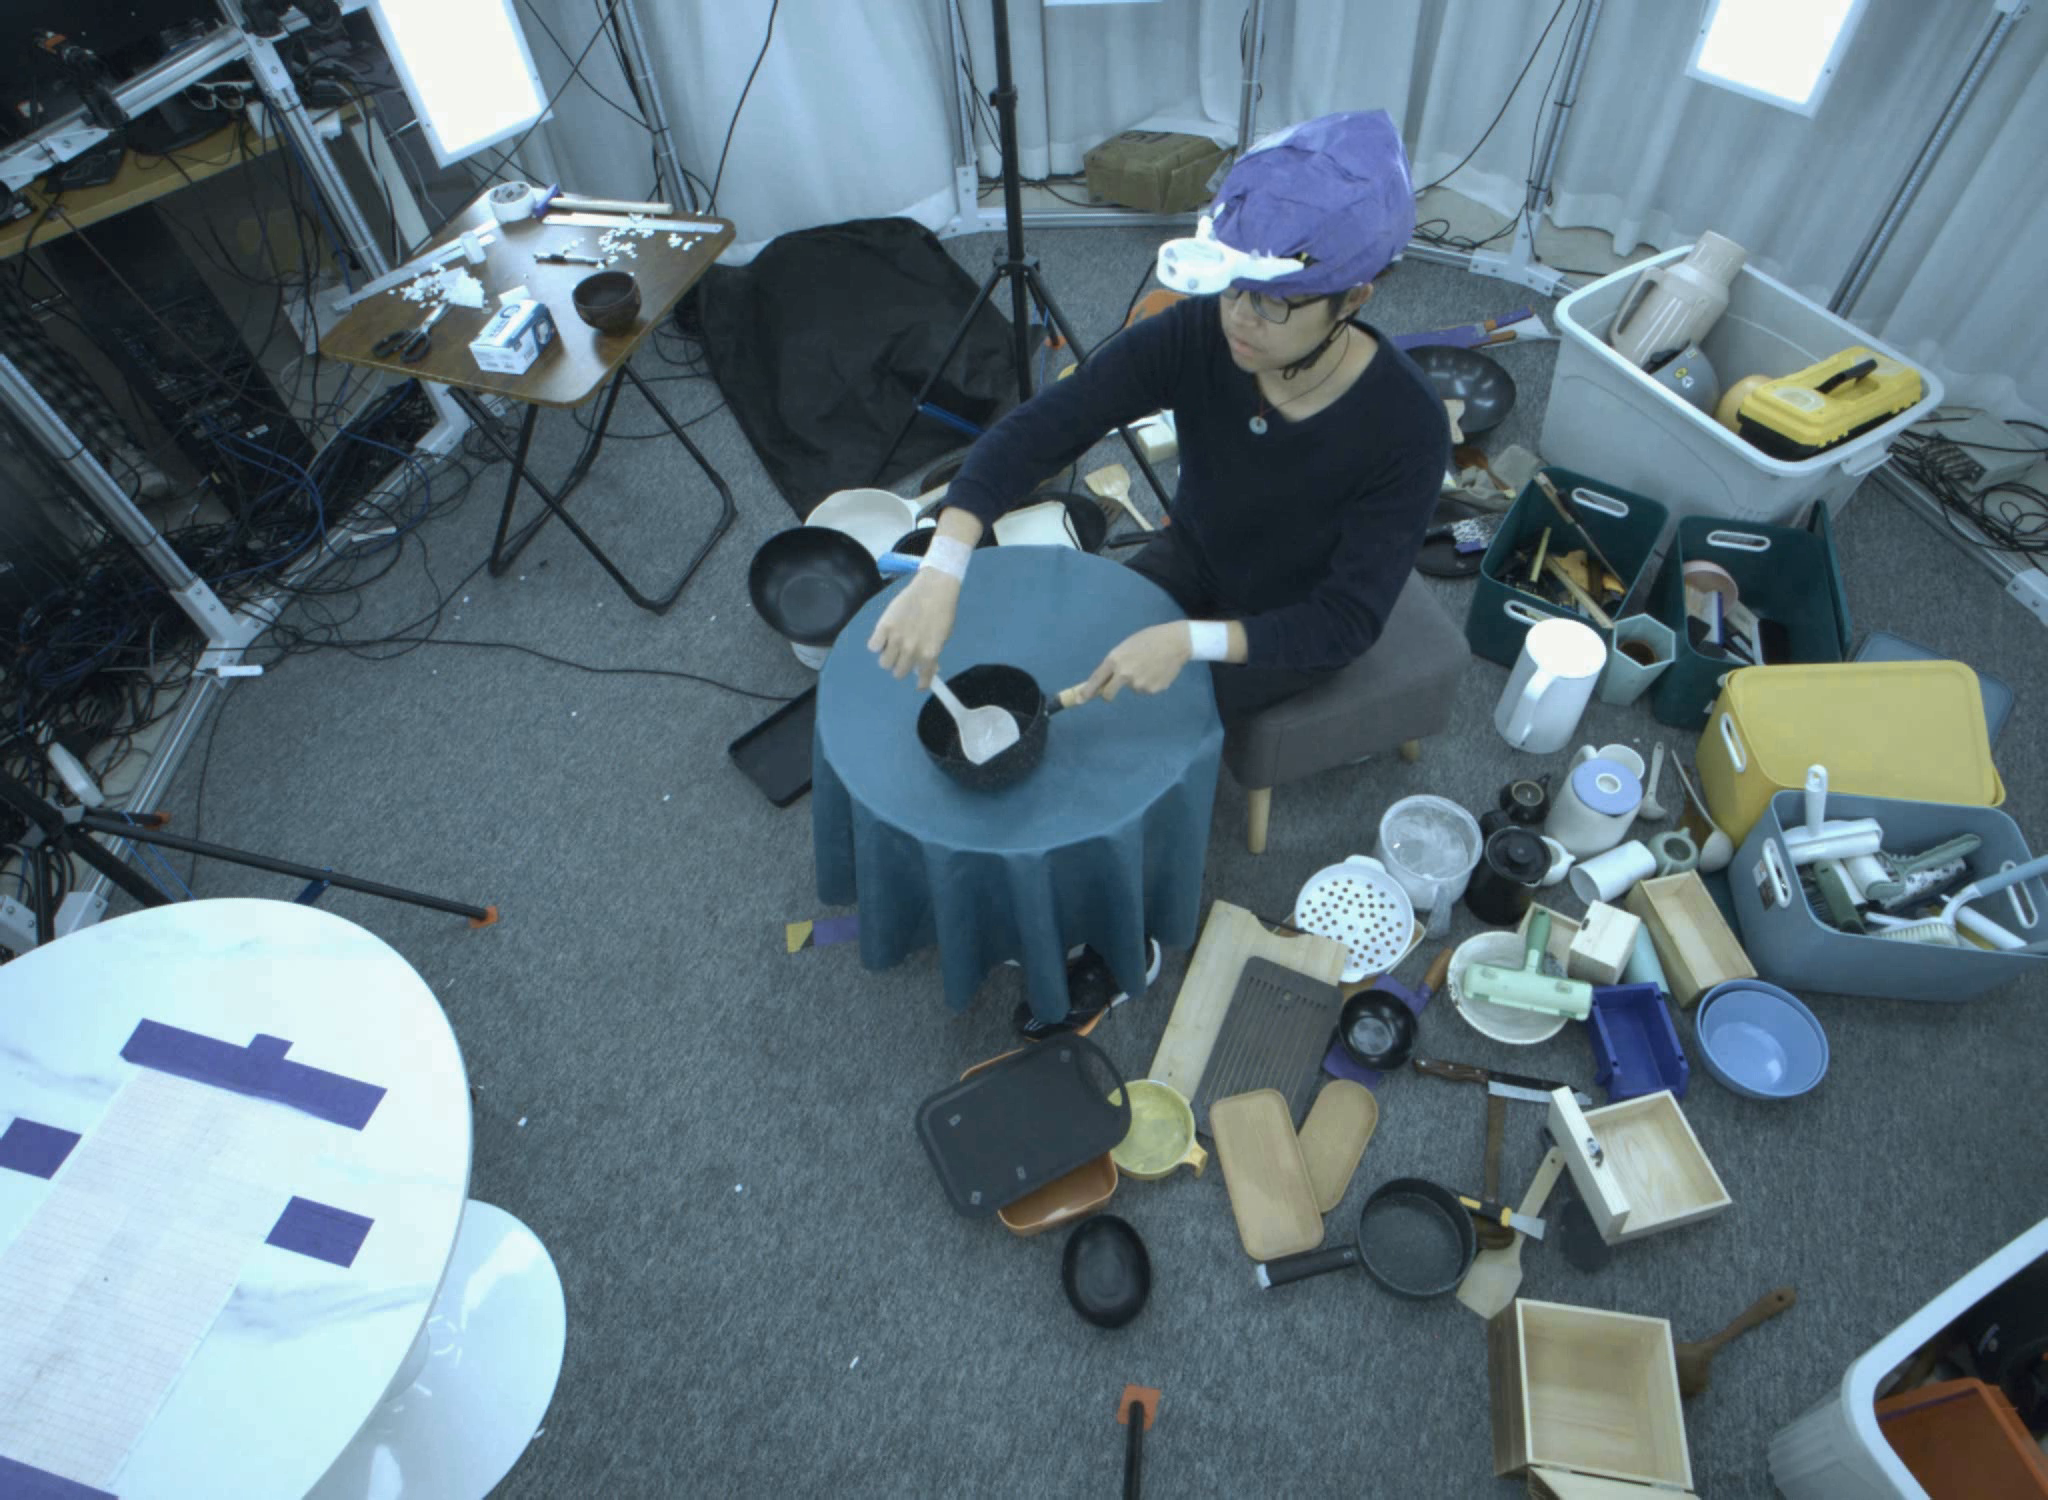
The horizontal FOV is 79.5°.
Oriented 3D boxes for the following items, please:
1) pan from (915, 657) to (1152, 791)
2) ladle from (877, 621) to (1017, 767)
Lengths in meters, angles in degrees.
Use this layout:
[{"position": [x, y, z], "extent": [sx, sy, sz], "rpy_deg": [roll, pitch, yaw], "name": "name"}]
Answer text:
[{"position": [0.021, -0.052, 1.717], "extent": [0.341, 0.110, 0.205], "rpy_deg": [-14, 45, 10], "name": "pan"}, {"position": [-0.096, -0.076, 1.593], "extent": [0.068, 0.281, 0.089], "rpy_deg": [14, 65, 36], "name": "ladle"}]
